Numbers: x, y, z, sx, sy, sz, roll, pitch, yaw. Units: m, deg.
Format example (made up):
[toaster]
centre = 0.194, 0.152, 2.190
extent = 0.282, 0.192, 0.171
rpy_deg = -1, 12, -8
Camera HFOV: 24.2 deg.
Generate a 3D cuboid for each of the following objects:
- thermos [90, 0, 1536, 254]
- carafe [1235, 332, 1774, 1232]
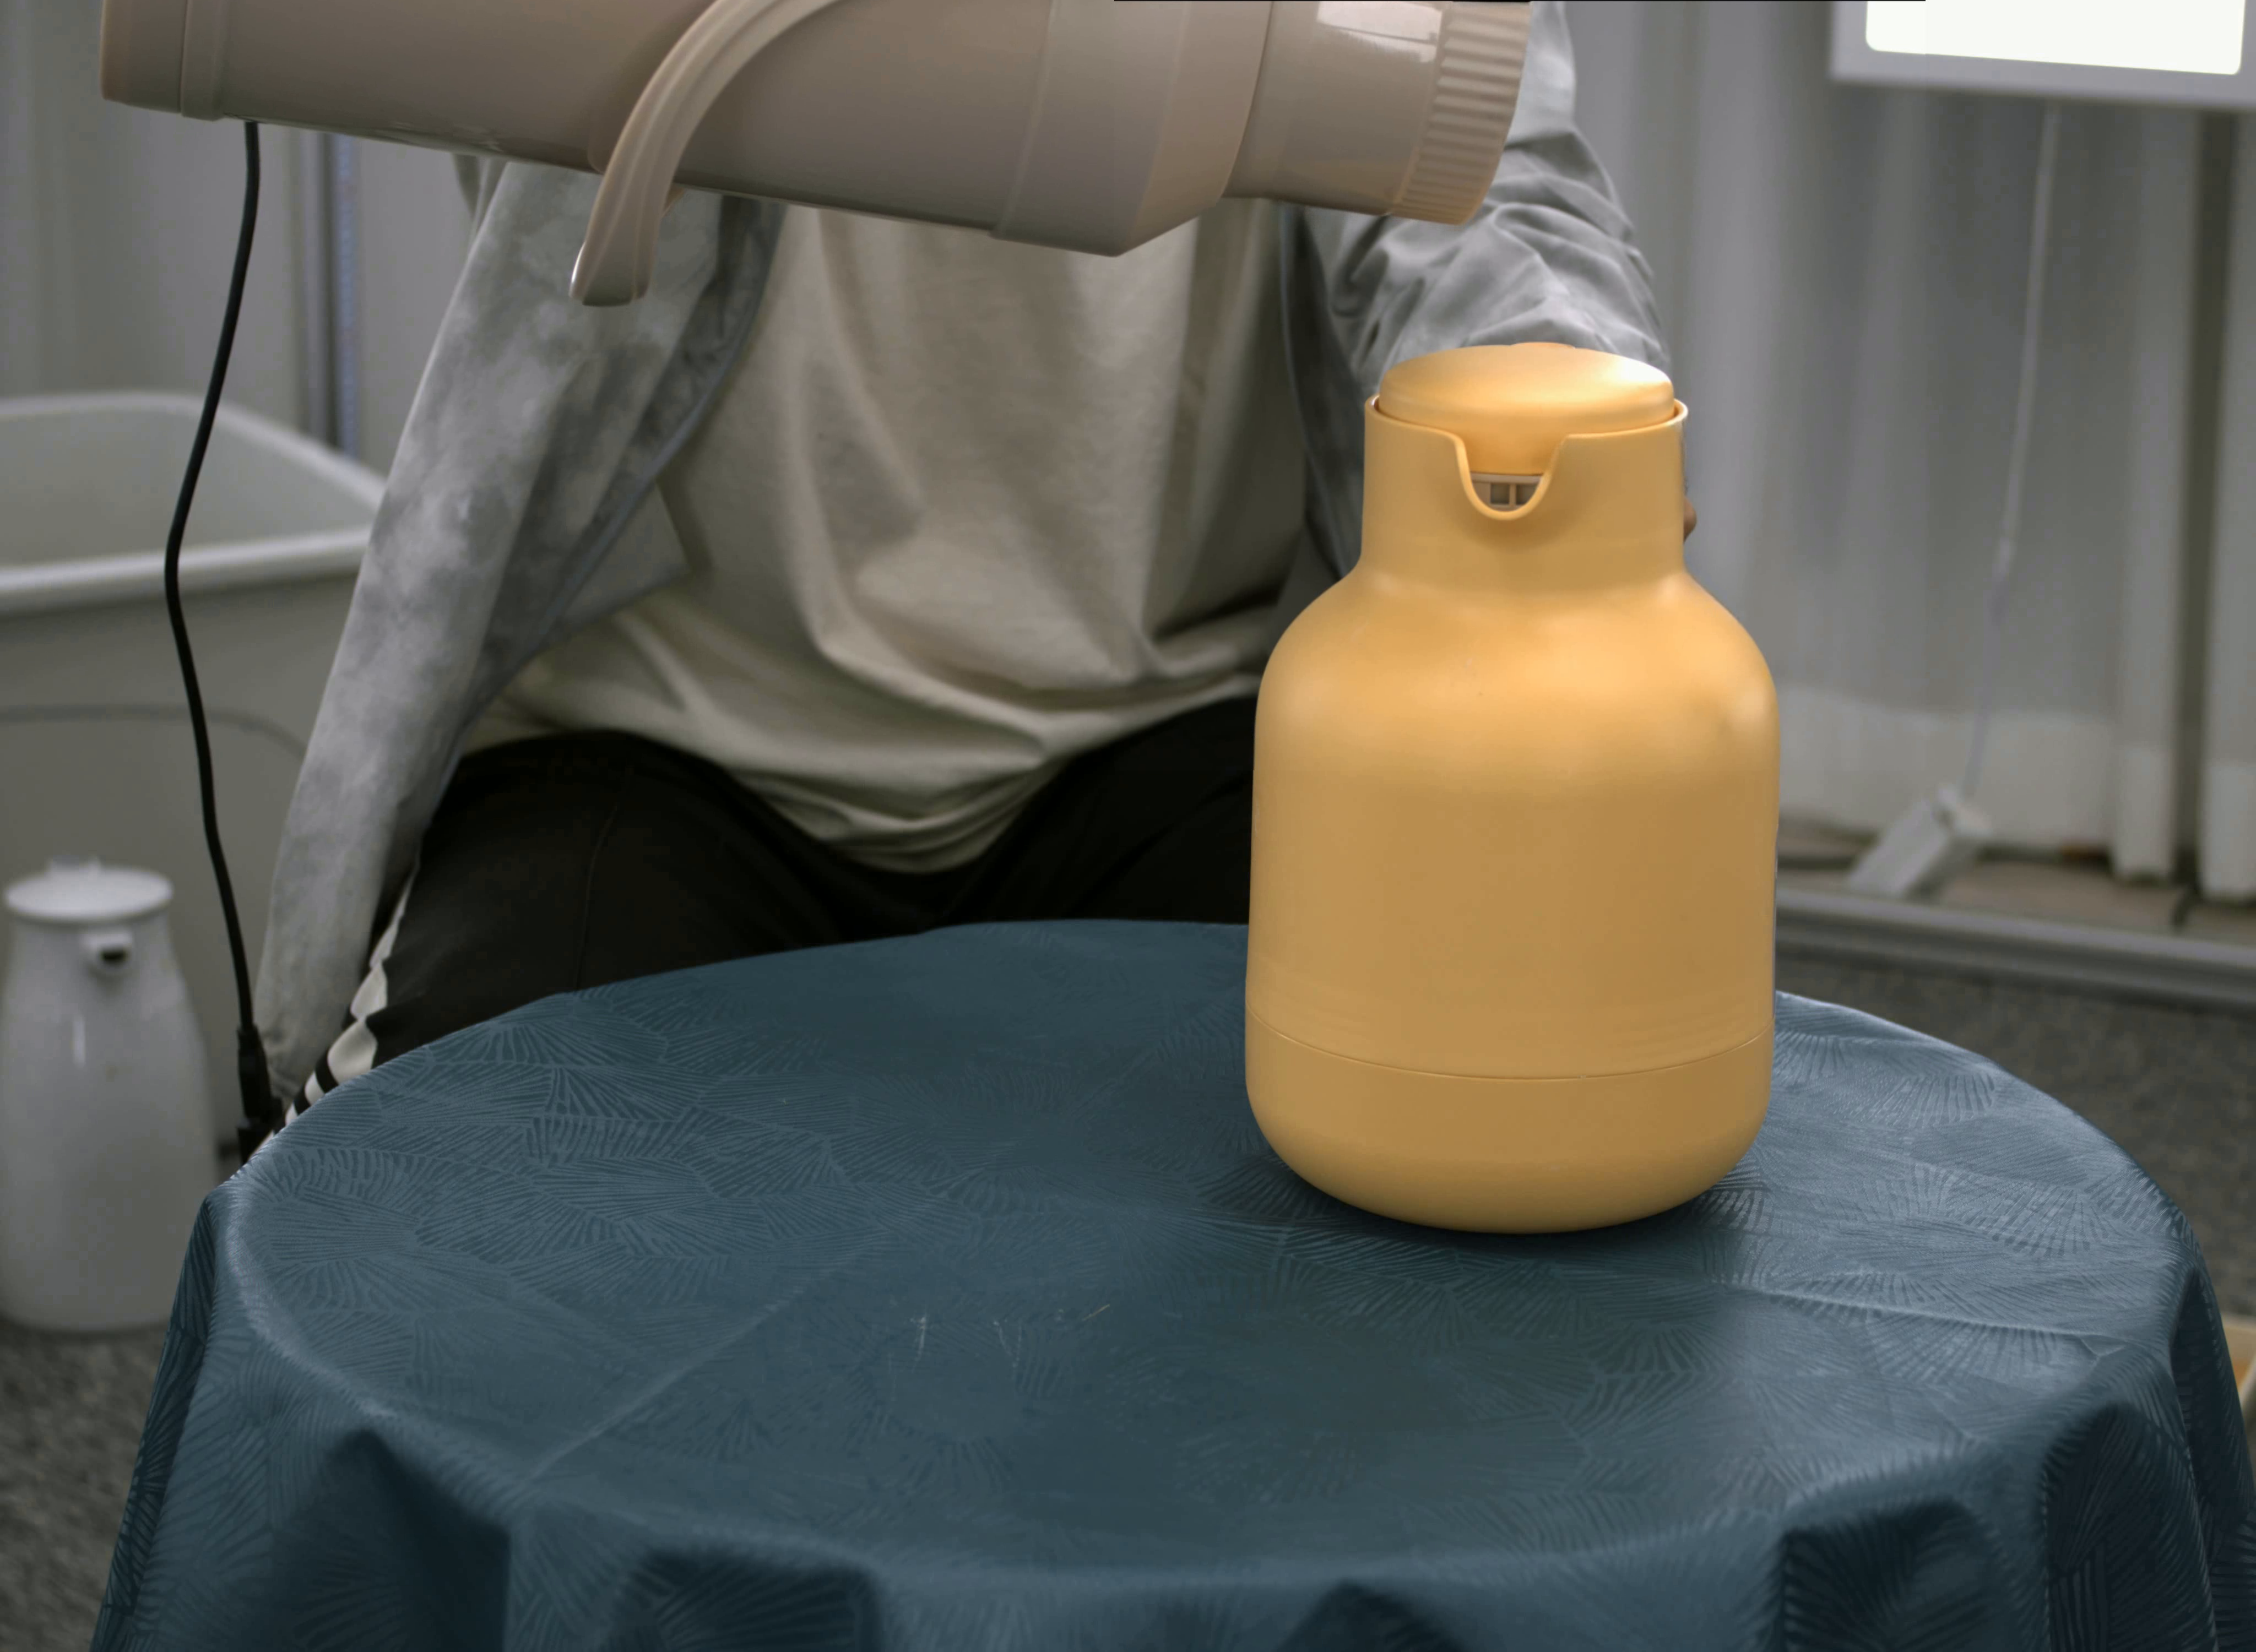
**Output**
[thermos]
centre = -0.087, -0.272, 1.525
extent = 0.406, 0.207, 0.175
rpy_deg = 8, -7, -7
[carafe]
centre = 0.121, -0.022, 1.623
extent = 0.162, 0.262, 0.202
rpy_deg = 5, 18, 9
